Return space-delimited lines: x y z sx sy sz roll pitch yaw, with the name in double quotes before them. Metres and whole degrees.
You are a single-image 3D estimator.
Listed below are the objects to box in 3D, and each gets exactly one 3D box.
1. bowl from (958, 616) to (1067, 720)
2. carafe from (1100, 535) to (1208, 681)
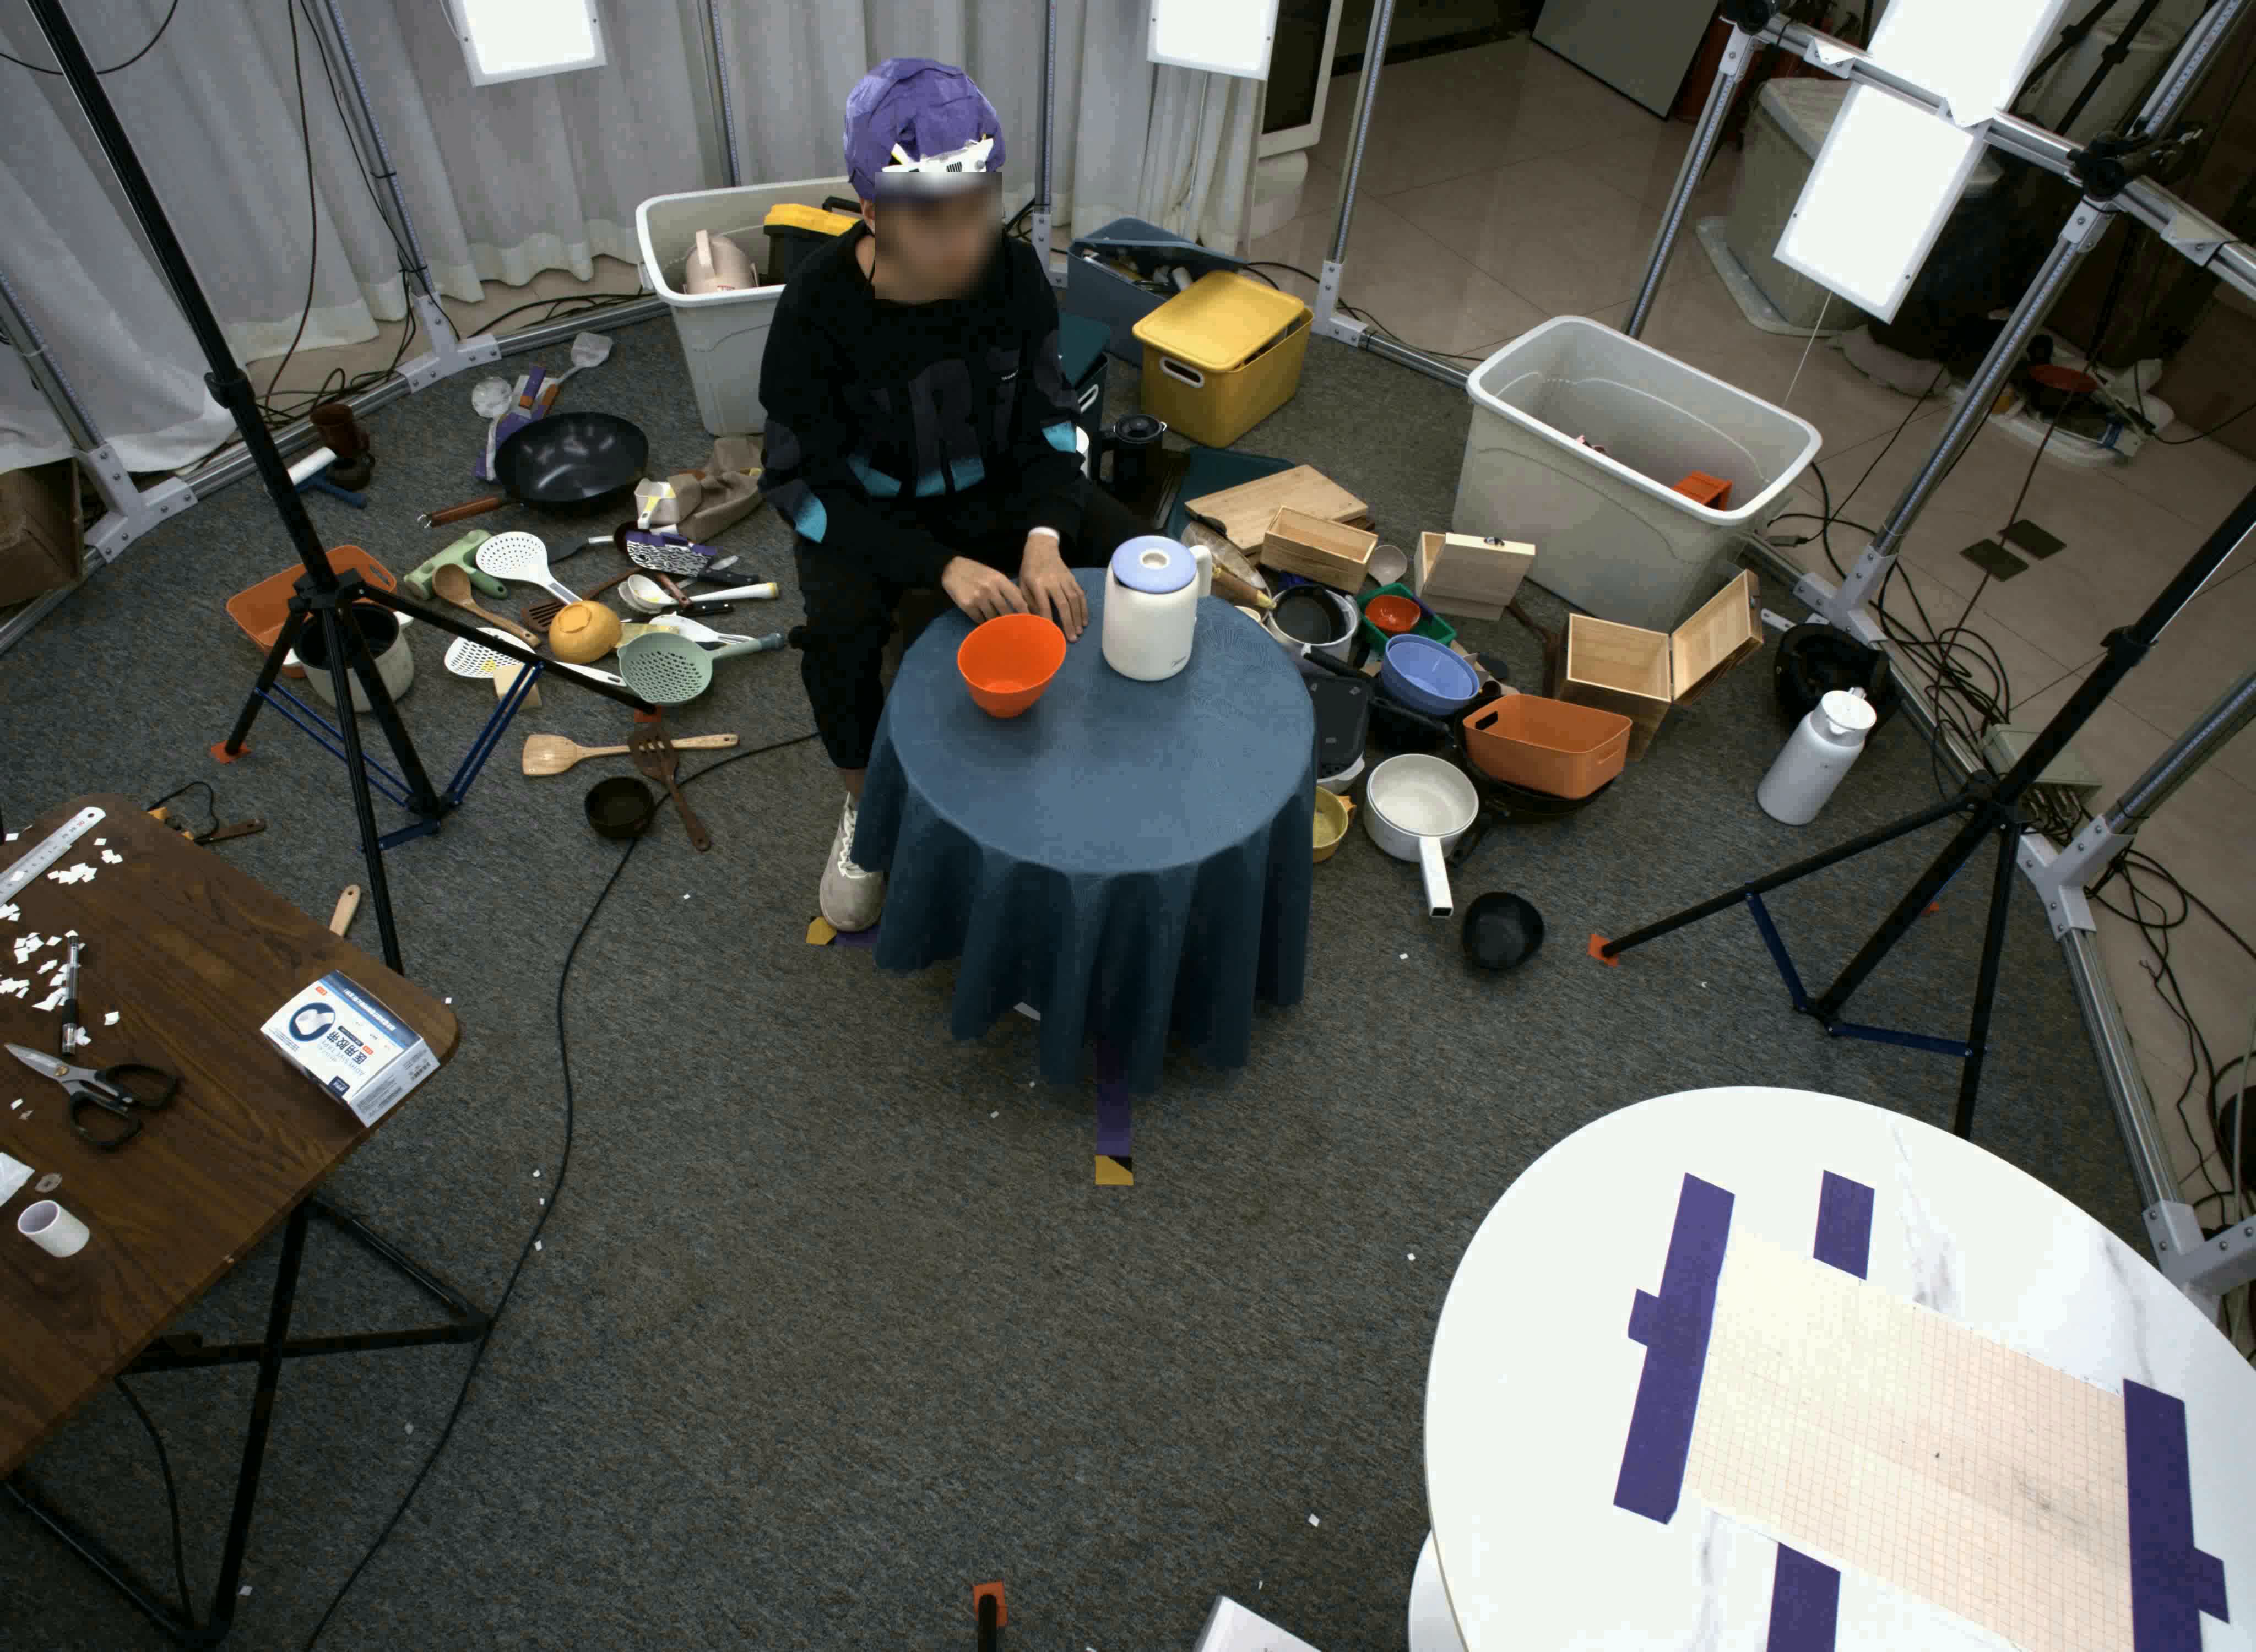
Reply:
"bowl" -0.159 -0.207 1.773 0.148 0.102 0.152 2 49 -3
"carafe" 0.047 -0.322 1.841 0.193 0.178 0.134 -34 61 -31
